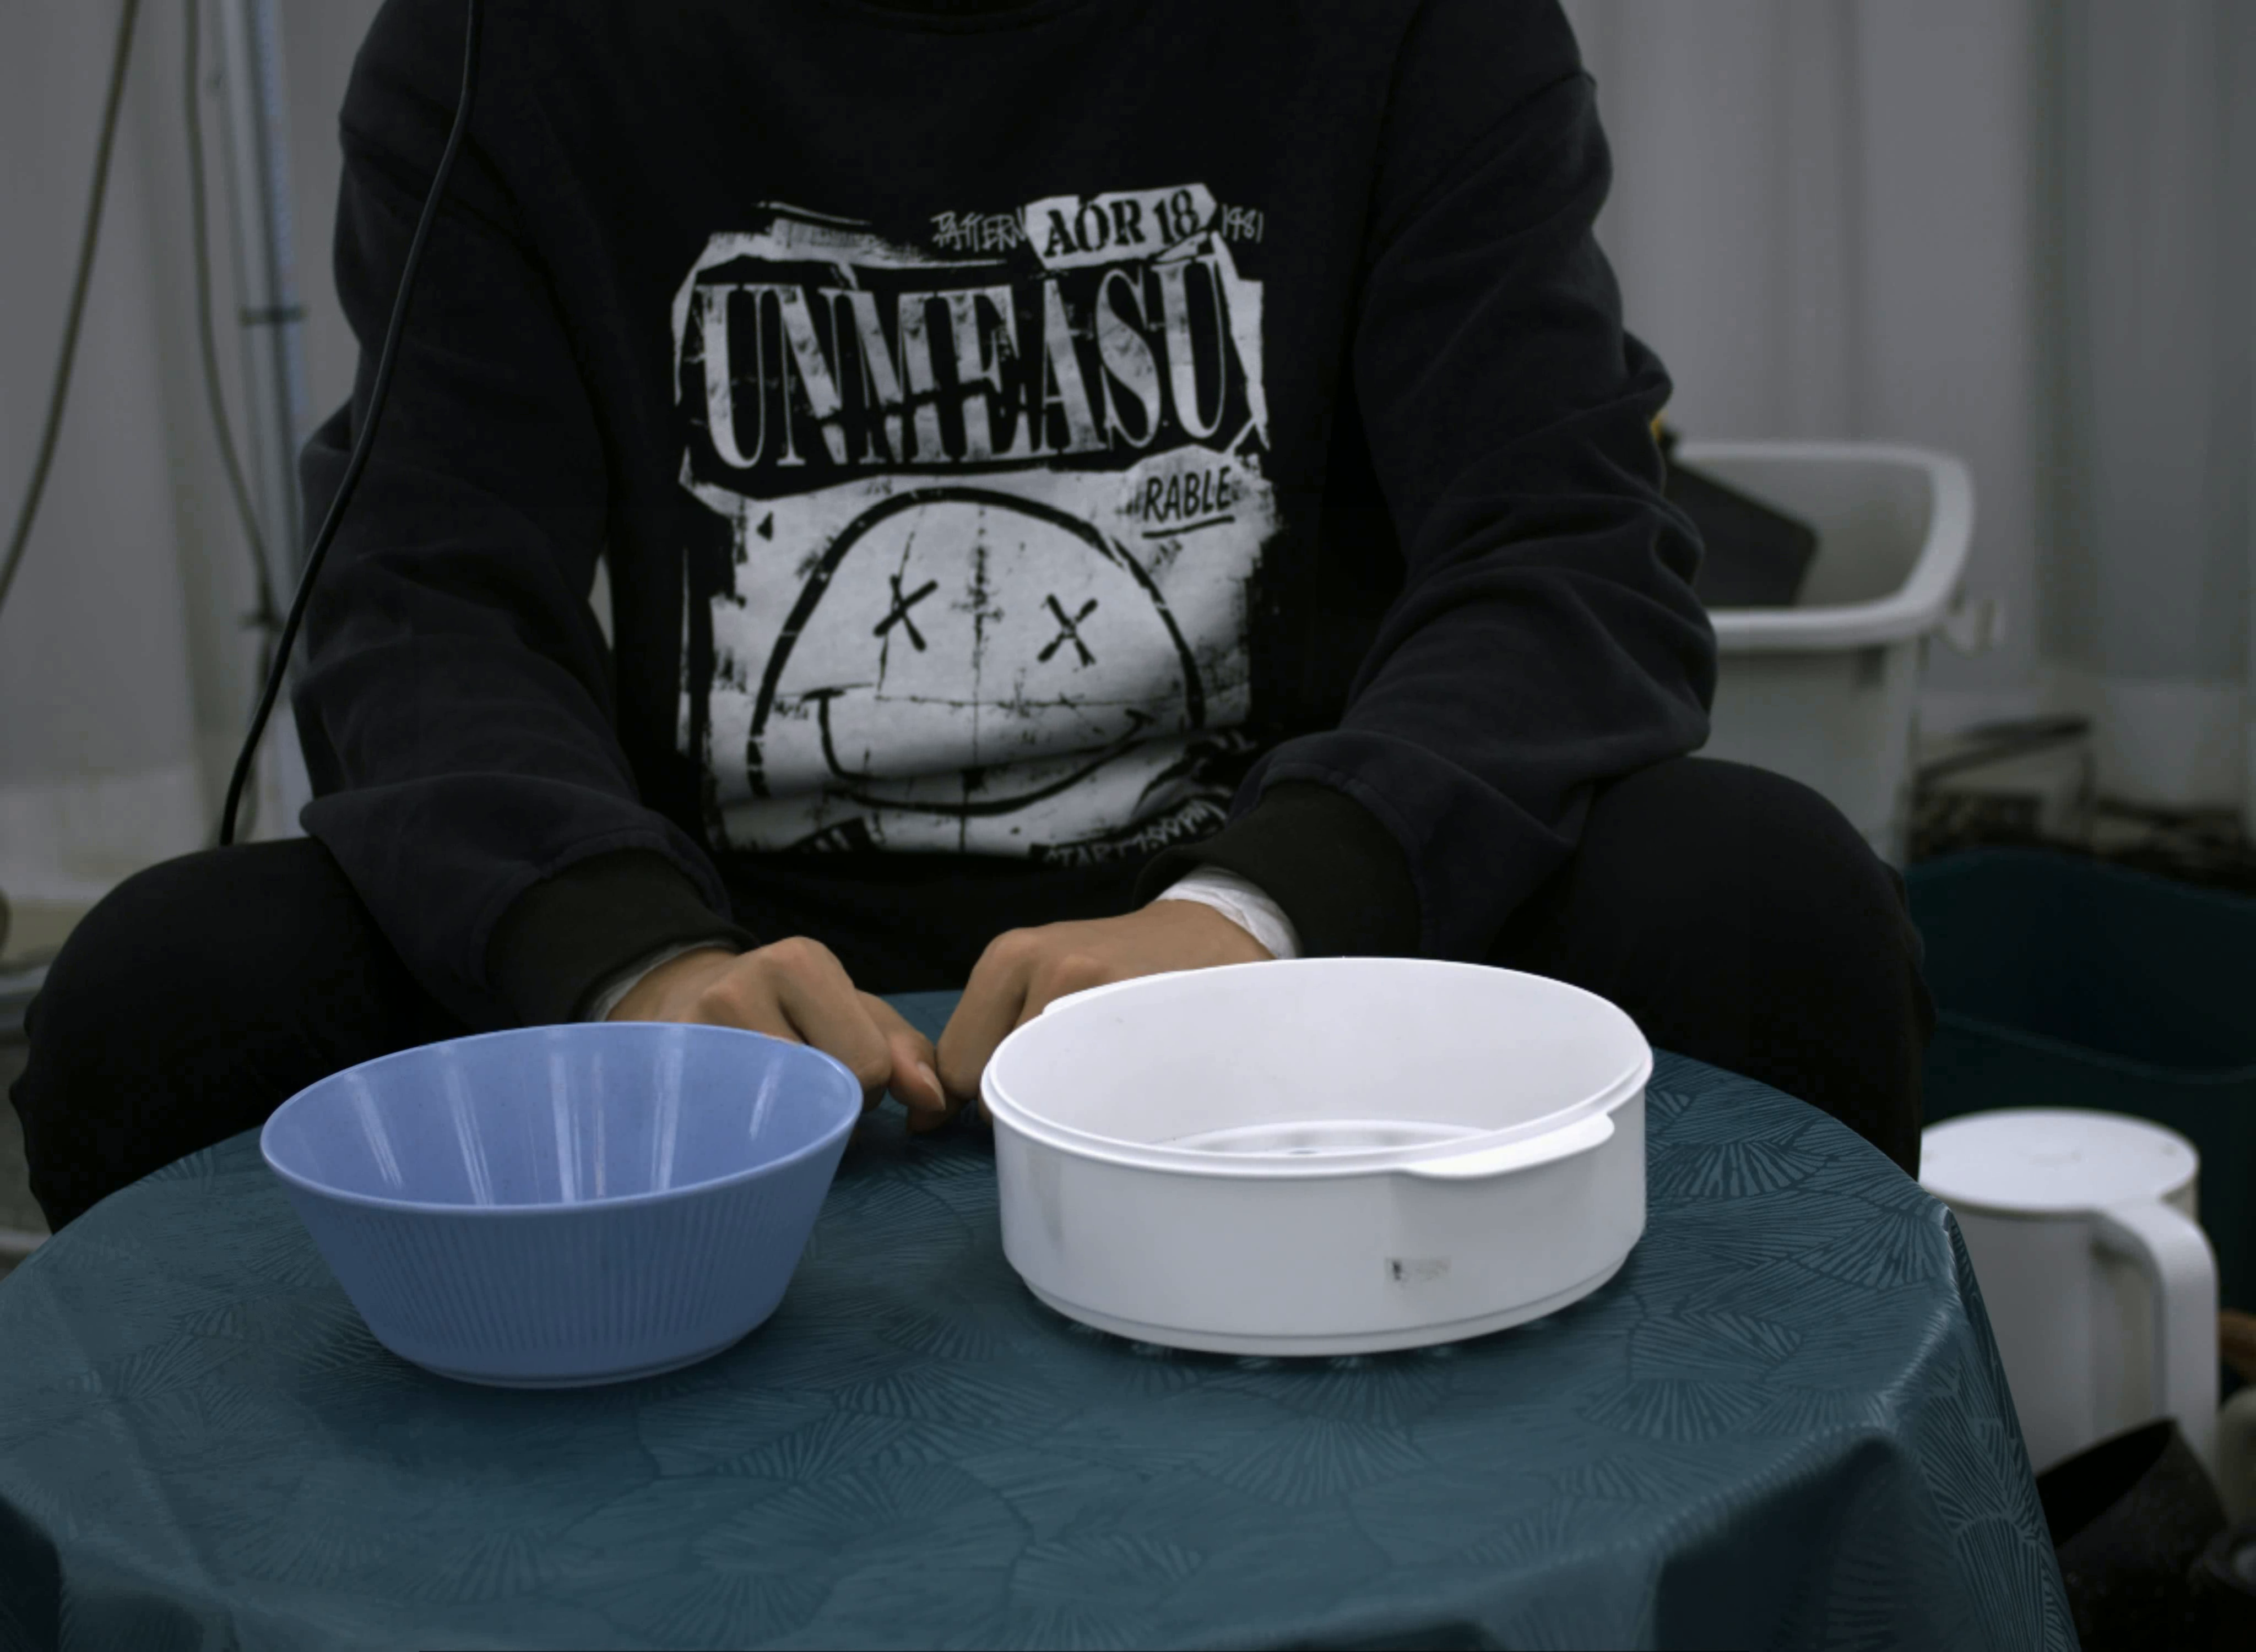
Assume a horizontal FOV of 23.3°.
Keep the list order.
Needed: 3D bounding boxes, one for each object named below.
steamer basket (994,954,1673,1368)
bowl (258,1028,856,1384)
[{"bbox_3d":[0.061,0.099,1.628,0.201,0.069,0.232,-12,20,-31],"label":"steamer basket"},{"bbox_3d":[-0.166,0.114,1.611,0.175,0.070,0.177,-2,14,0],"label":"bowl"}]
